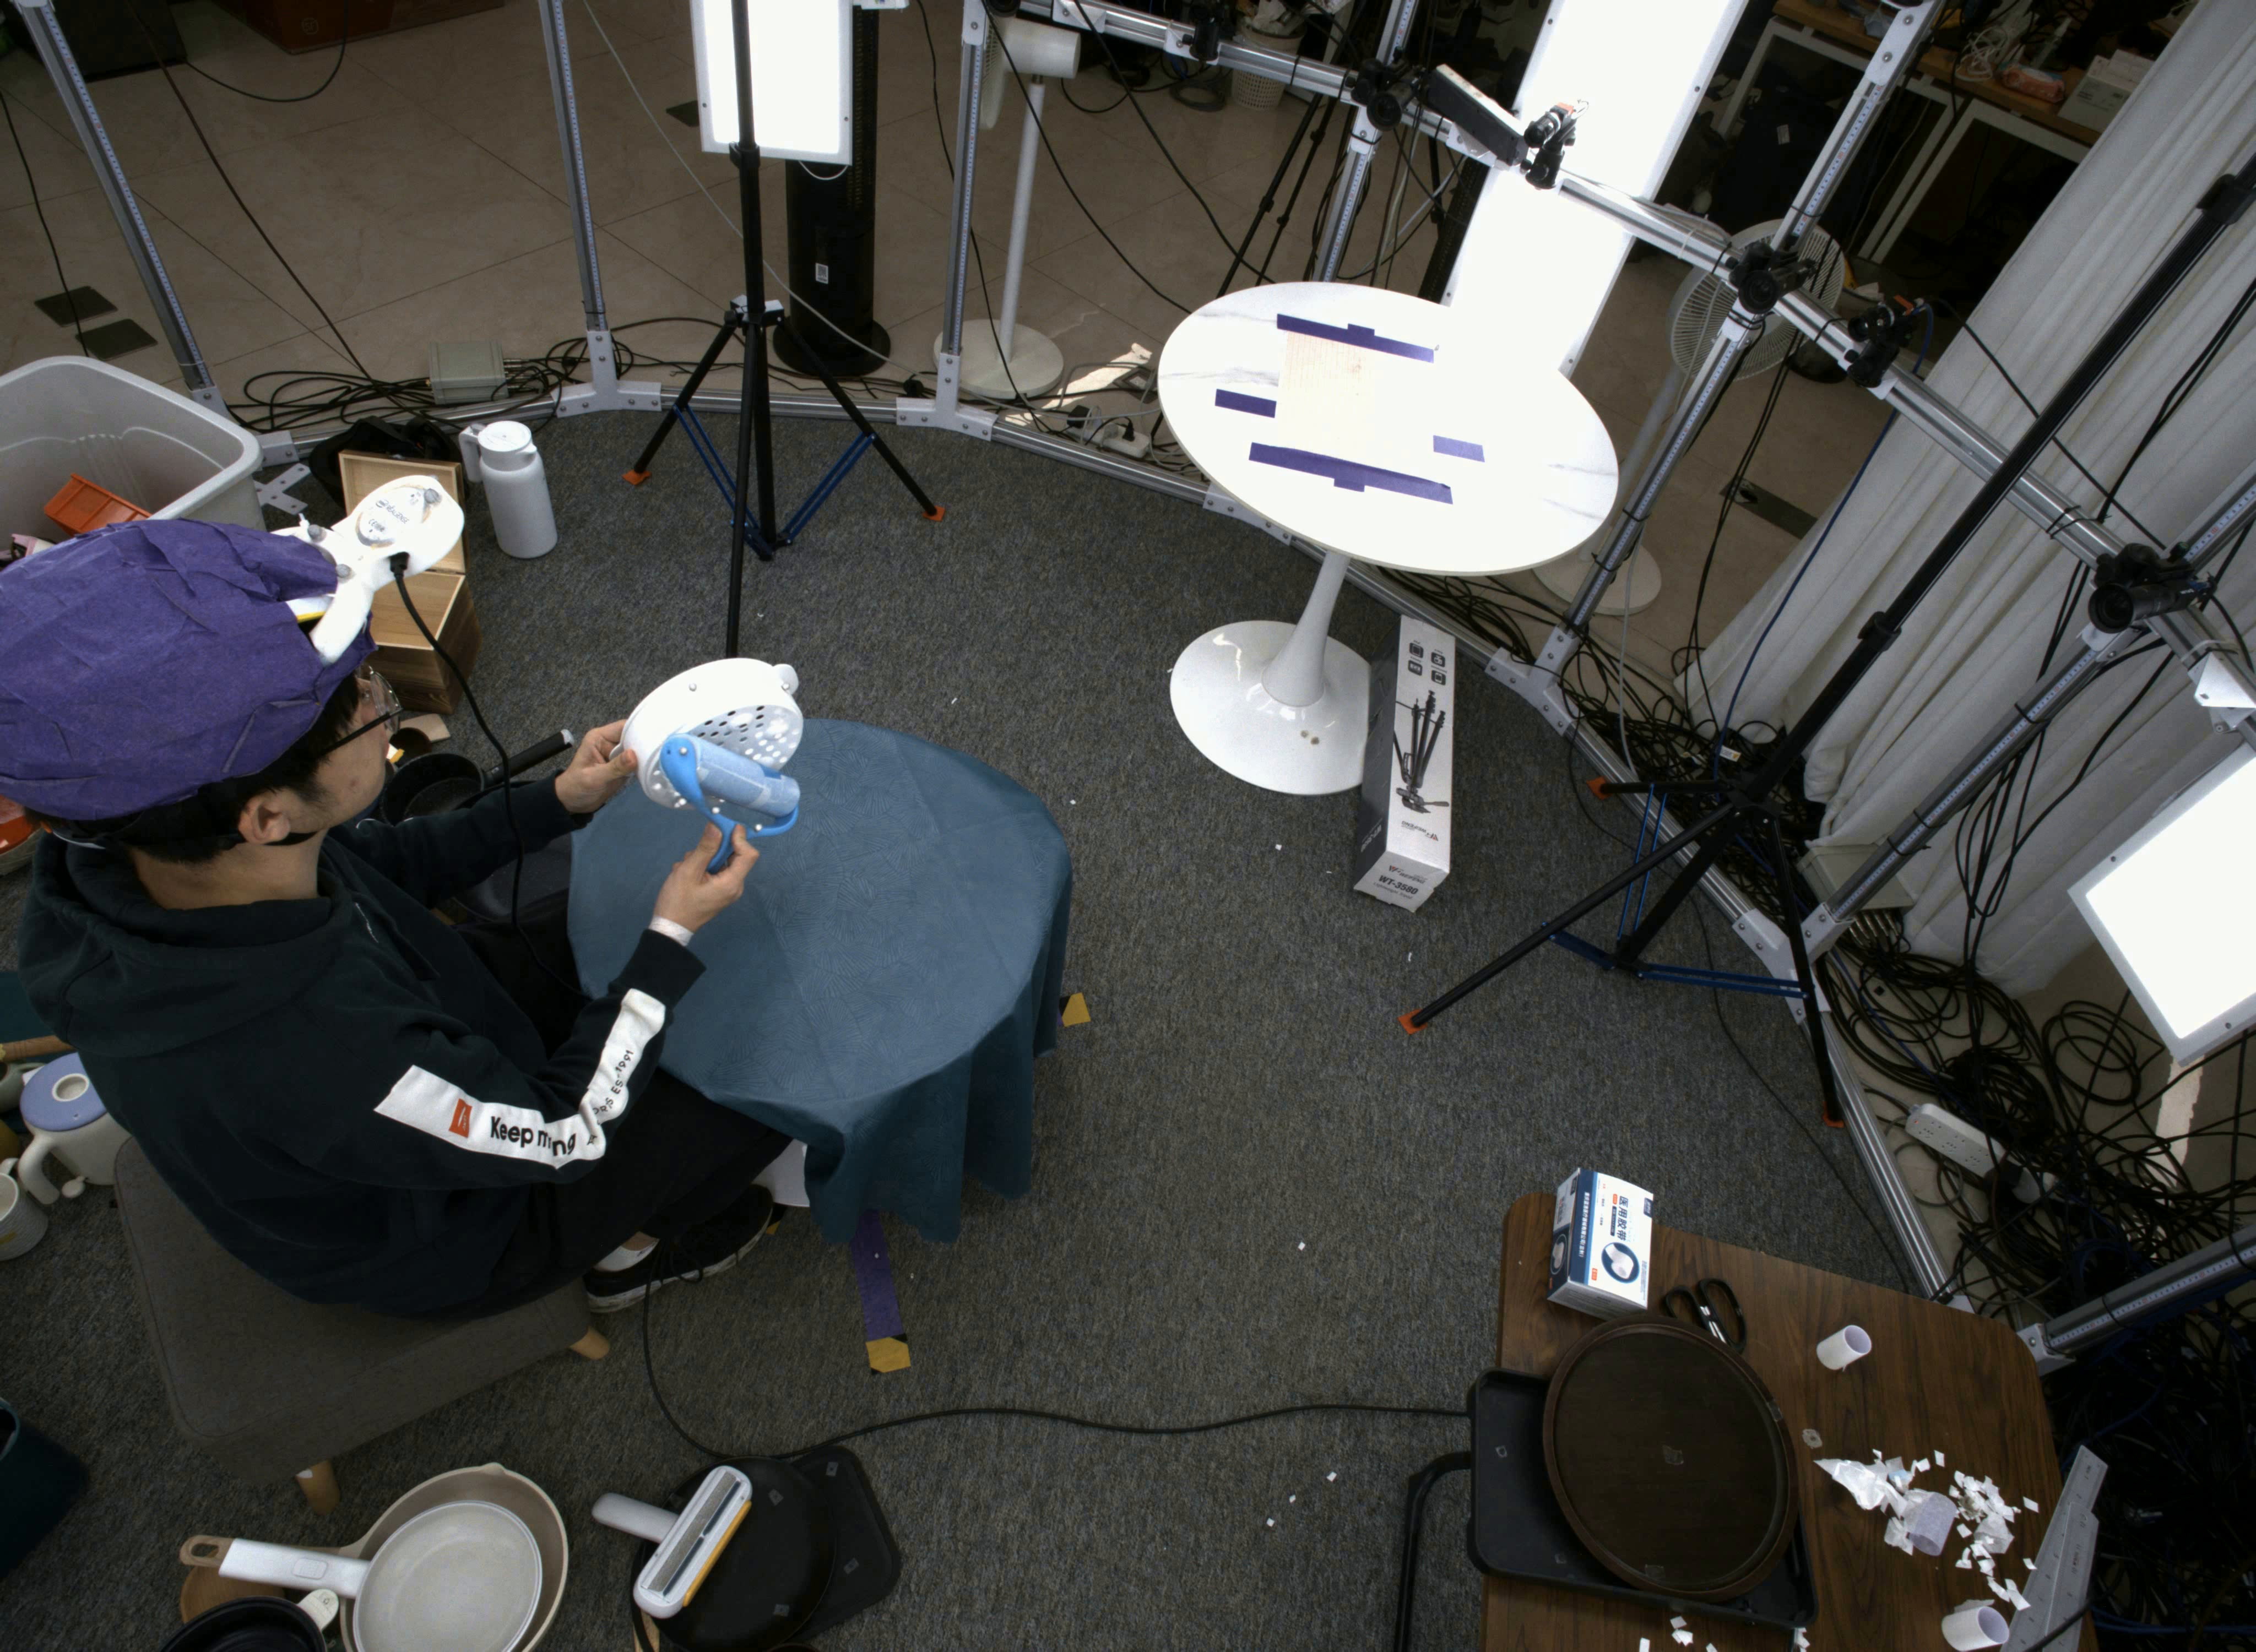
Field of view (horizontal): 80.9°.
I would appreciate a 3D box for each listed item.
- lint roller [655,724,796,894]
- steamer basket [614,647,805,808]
[{"bbox_3d":[-0.454,-0.006,1.415,0.066,0.233,0.182,17,89,18],"label":"lint roller"},{"bbox_3d":[-0.461,-0.105,1.446,0.230,0.206,0.068,-32,70,-15],"label":"steamer basket"}]
